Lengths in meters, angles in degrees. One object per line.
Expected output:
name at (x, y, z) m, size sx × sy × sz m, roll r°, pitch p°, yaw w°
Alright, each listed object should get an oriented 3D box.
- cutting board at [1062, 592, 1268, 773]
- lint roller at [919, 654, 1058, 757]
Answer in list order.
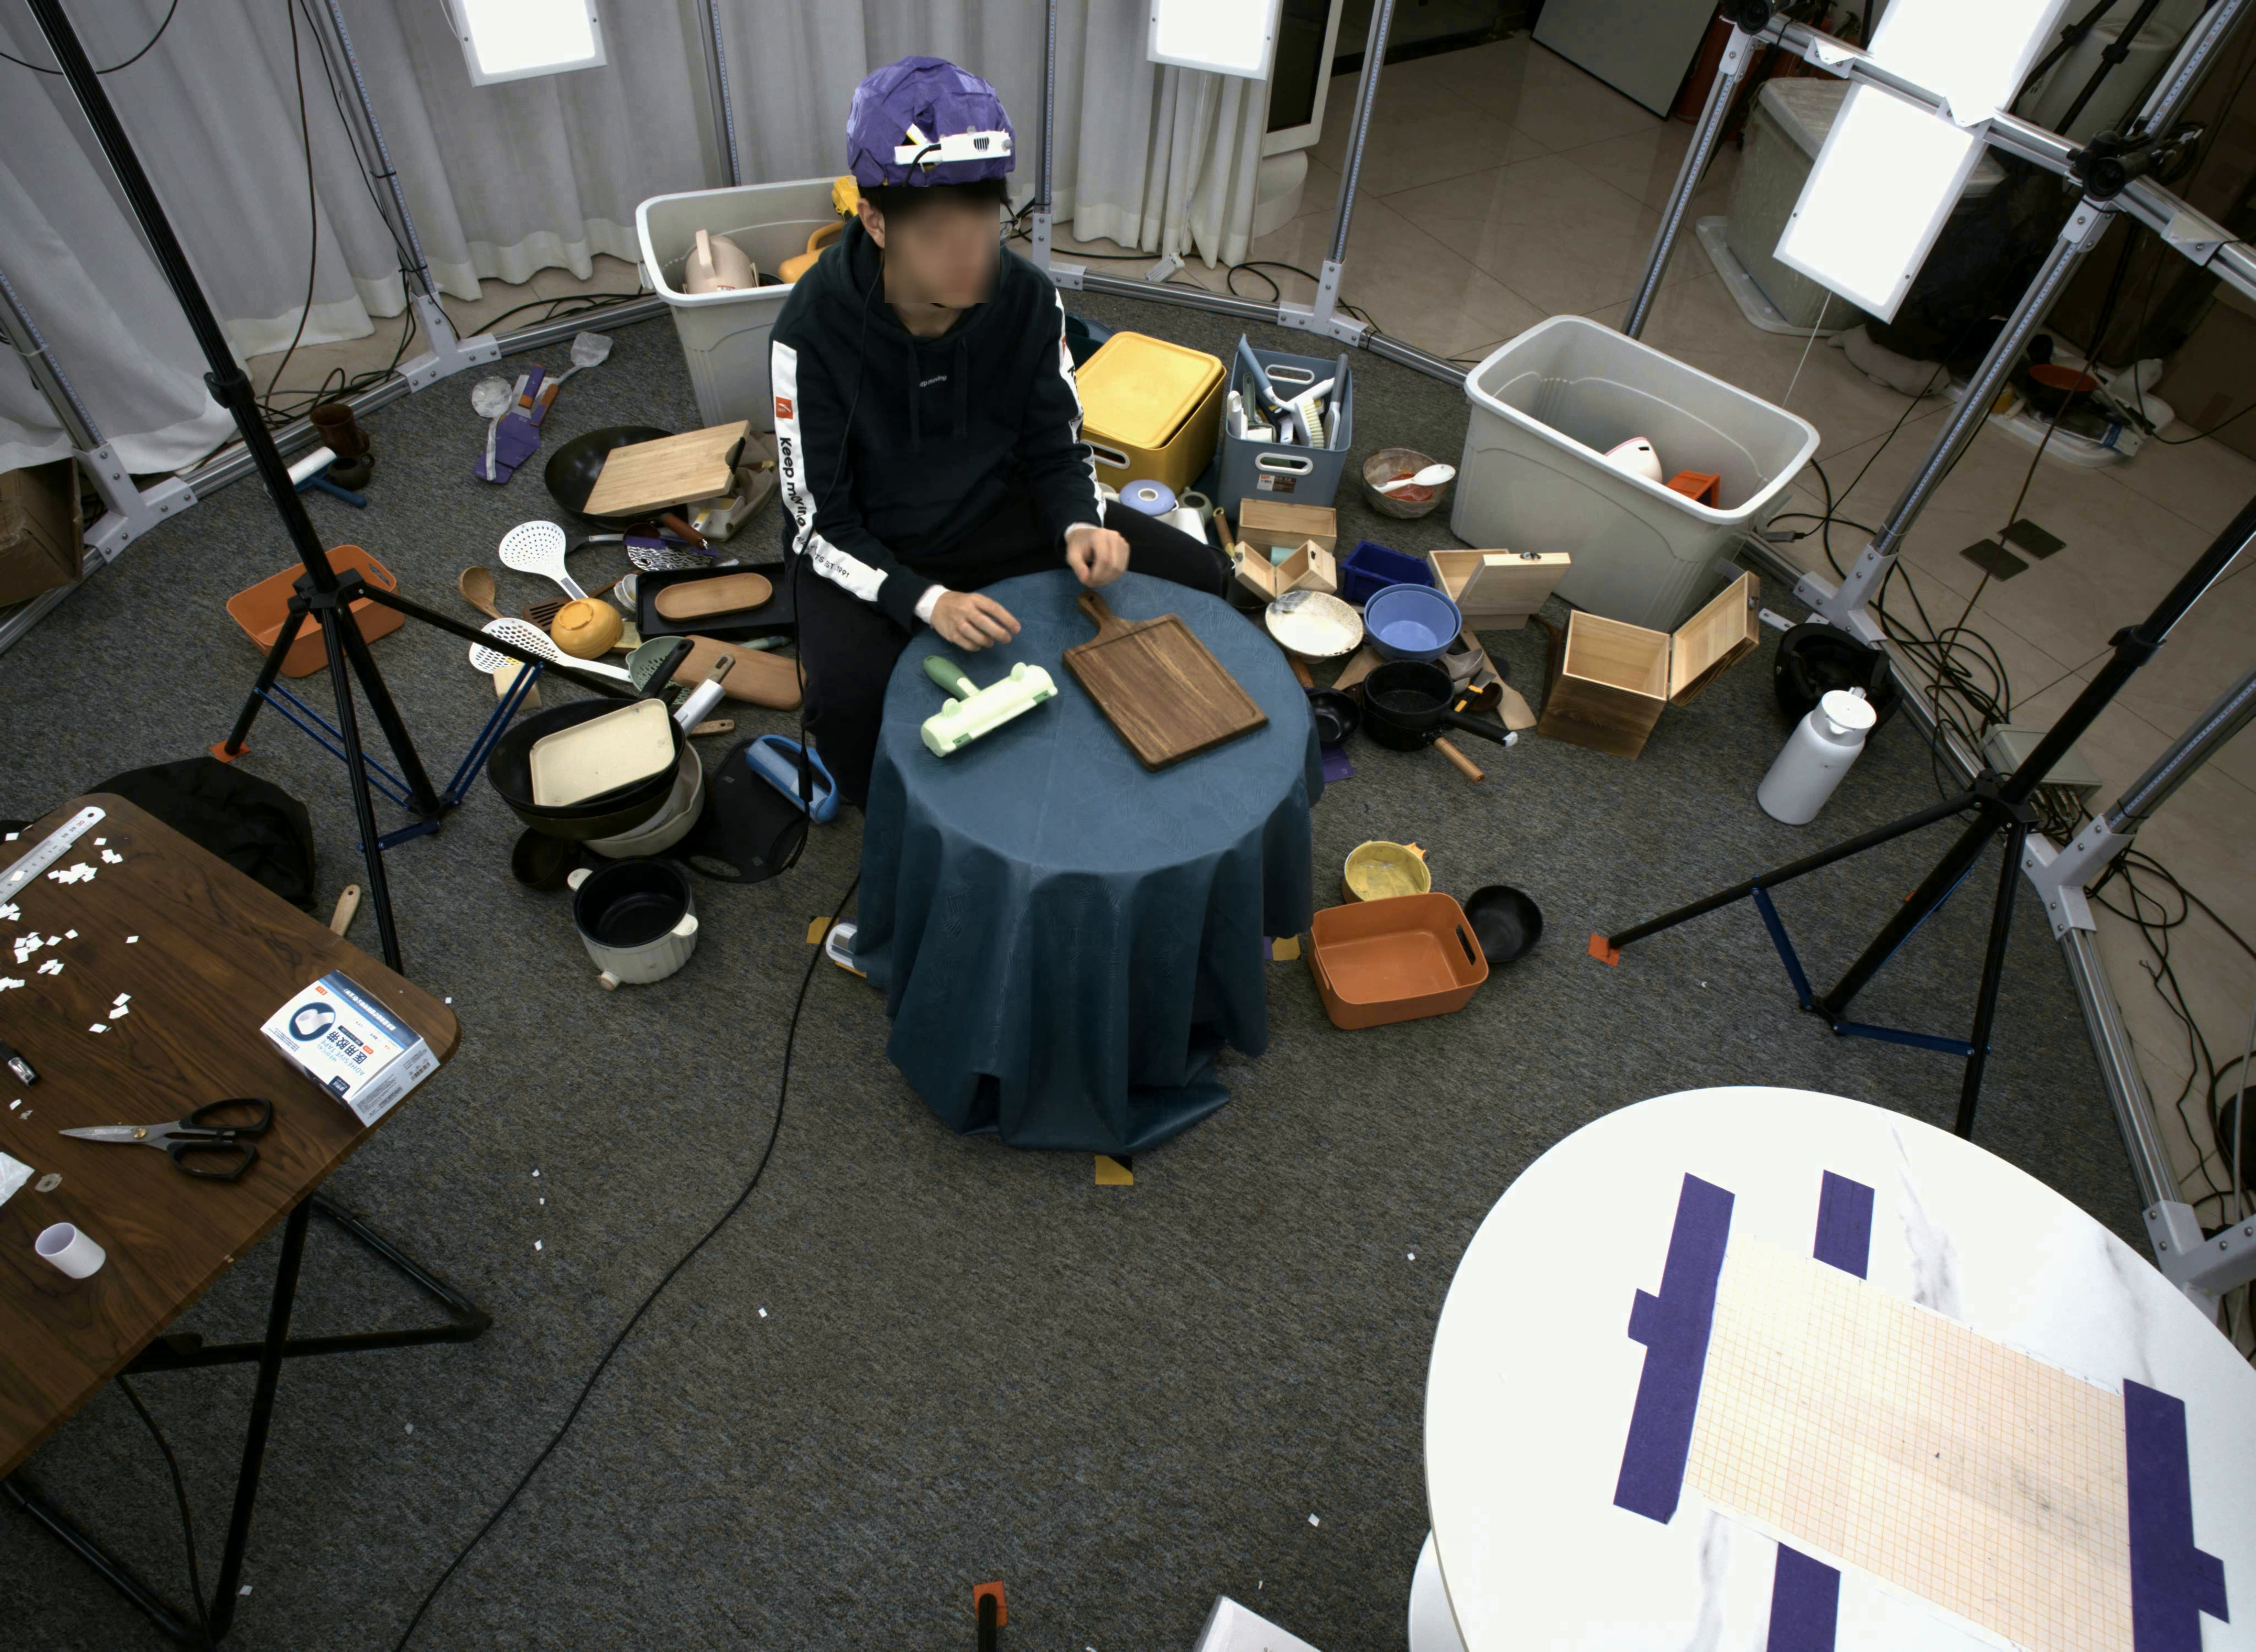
cutting board at (0.025, -0.229, 1.855) m, size 0.202 × 0.022 × 0.359 m, roll -23°, pitch 54°, yaw -22°
lint roller at (-0.226, -0.199, 1.777) m, size 0.200 × 0.080 × 0.186 m, roll -31°, pitch 62°, yaw -27°
